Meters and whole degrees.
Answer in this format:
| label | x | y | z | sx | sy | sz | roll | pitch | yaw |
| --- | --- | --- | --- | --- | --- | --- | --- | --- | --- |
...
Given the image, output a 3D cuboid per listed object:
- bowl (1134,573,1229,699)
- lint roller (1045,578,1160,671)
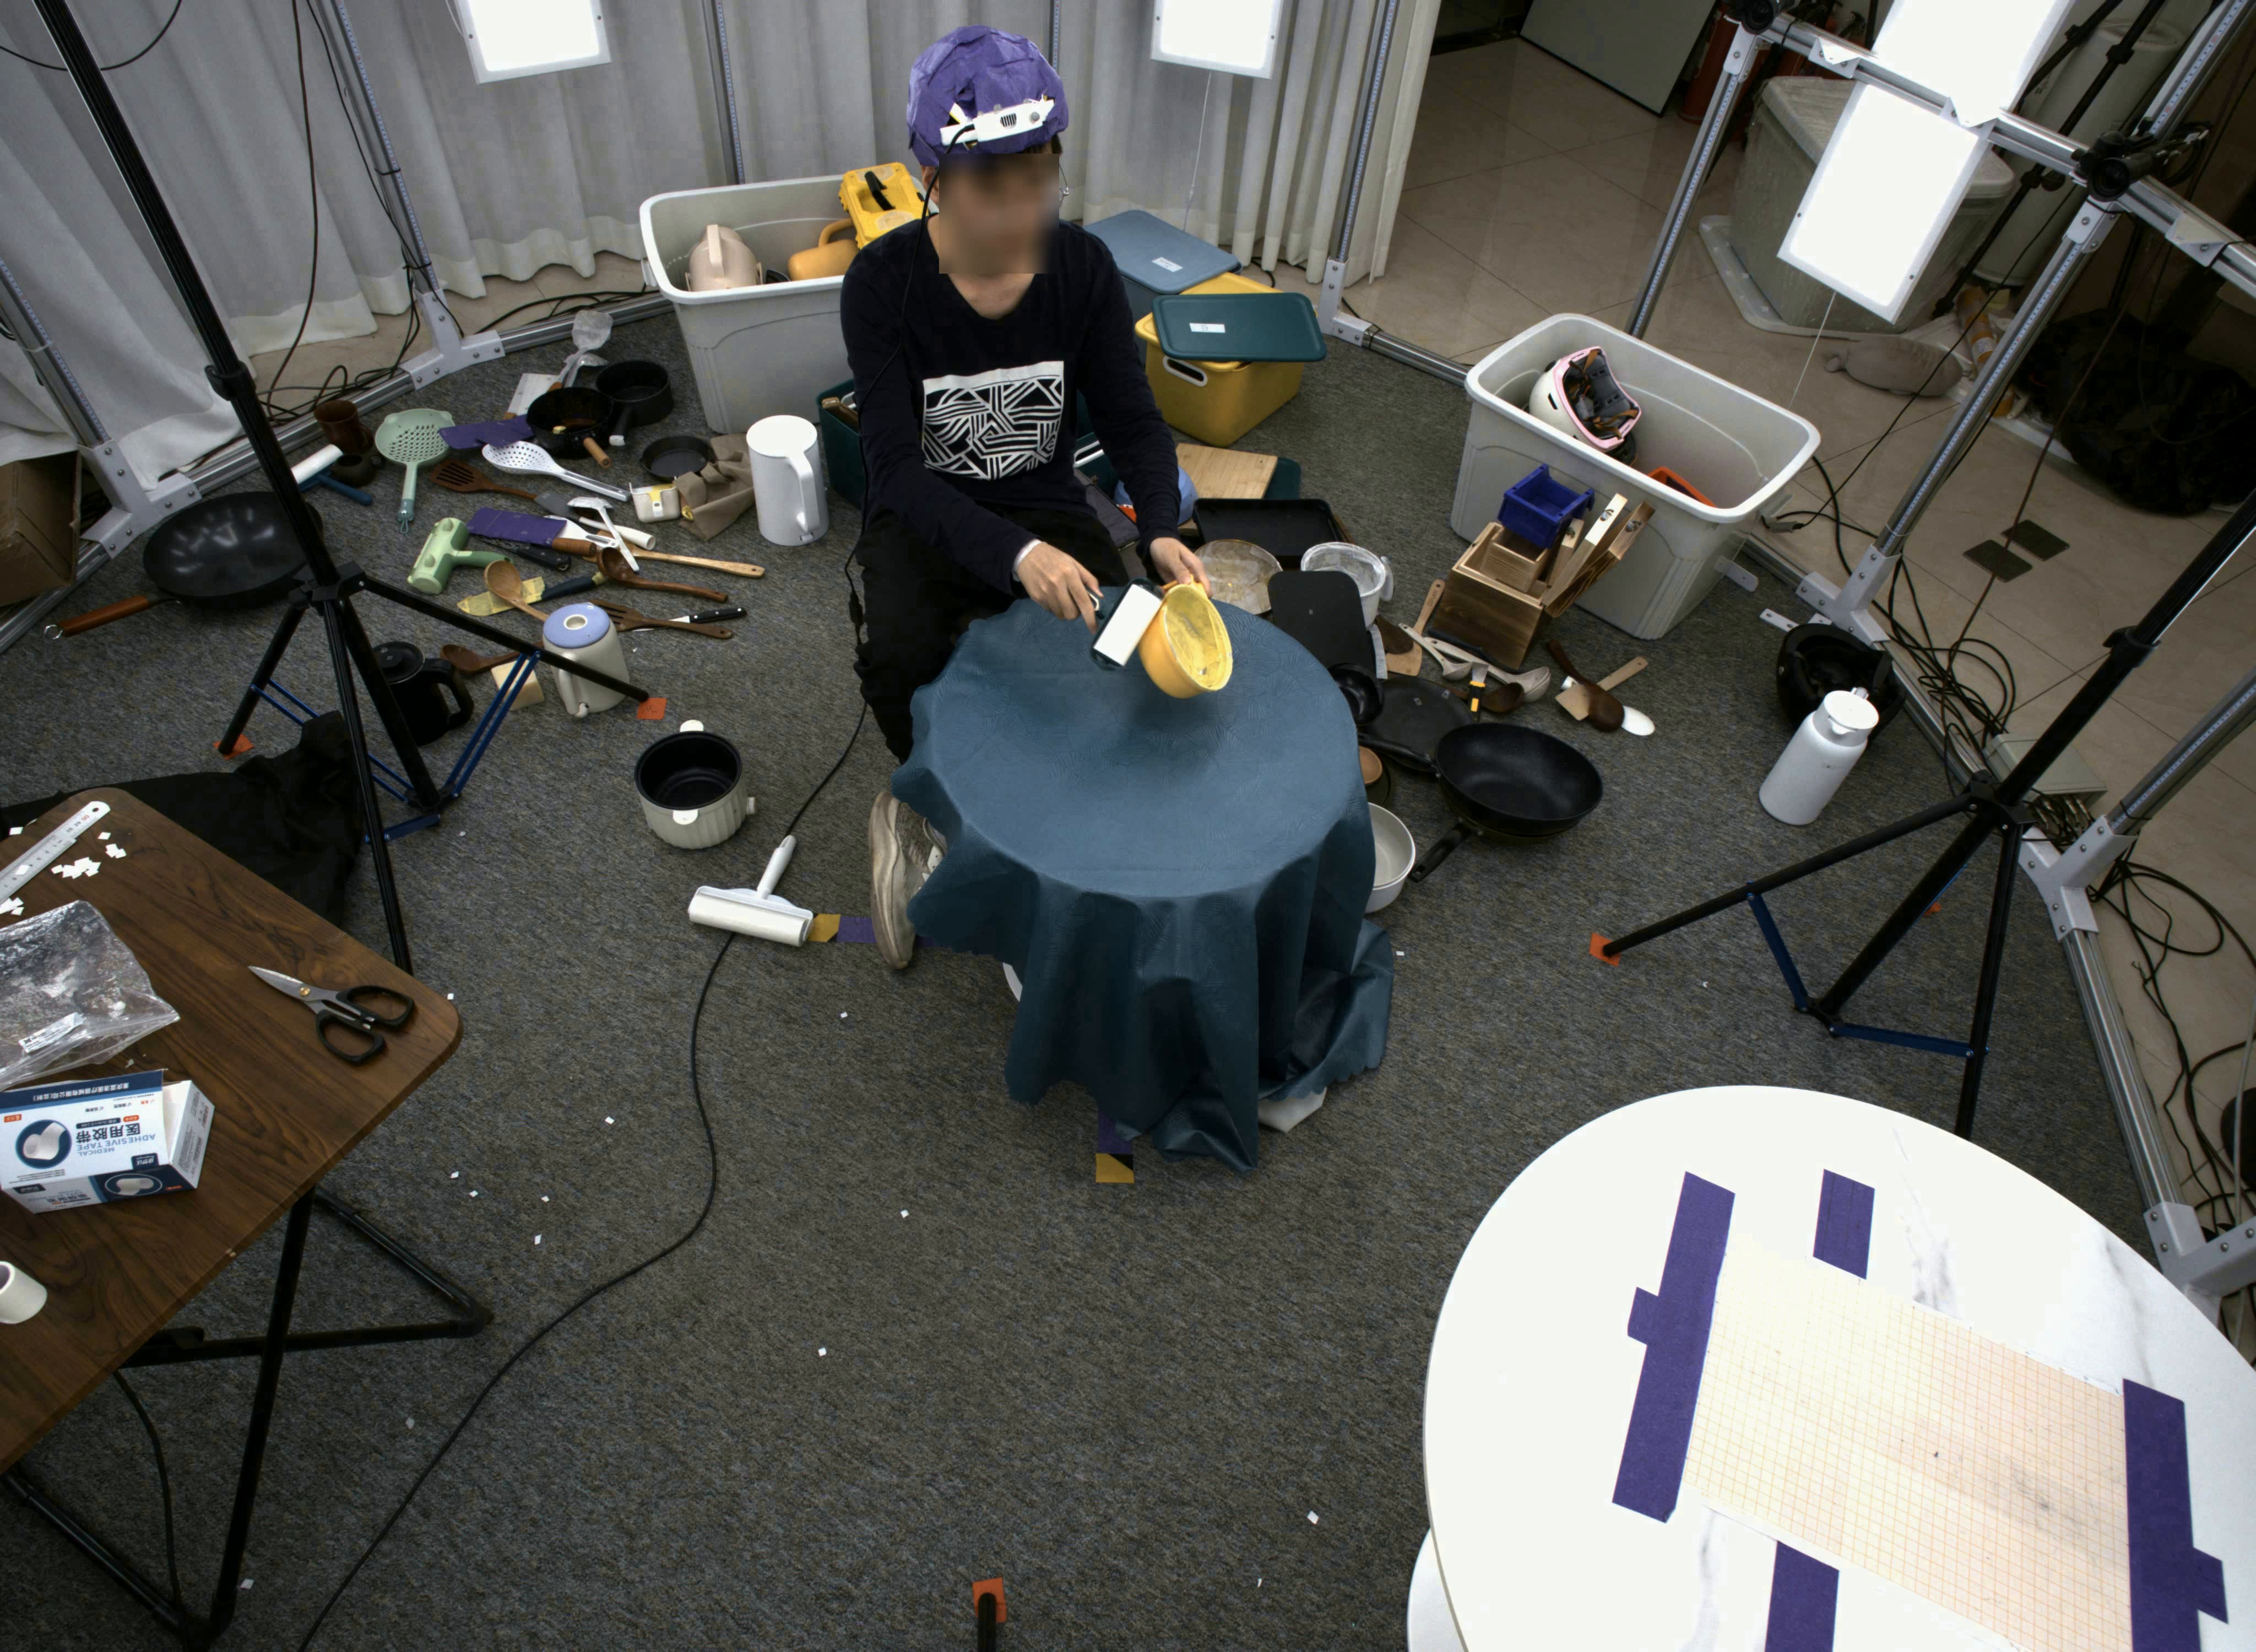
| label | x | y | z | sx | sy | sz | roll | pitch | yaw |
| --- | --- | --- | --- | --- | --- | --- | --- | --- | --- |
| bowl | 0.071 | -0.261 | 1.770 | 0.151 | 0.074 | 0.182 | 21 | 58 | -44 |
| lint roller | -0.053 | -0.298 | 1.727 | 0.183 | 0.047 | 0.134 | 34 | 89 | 28 |
